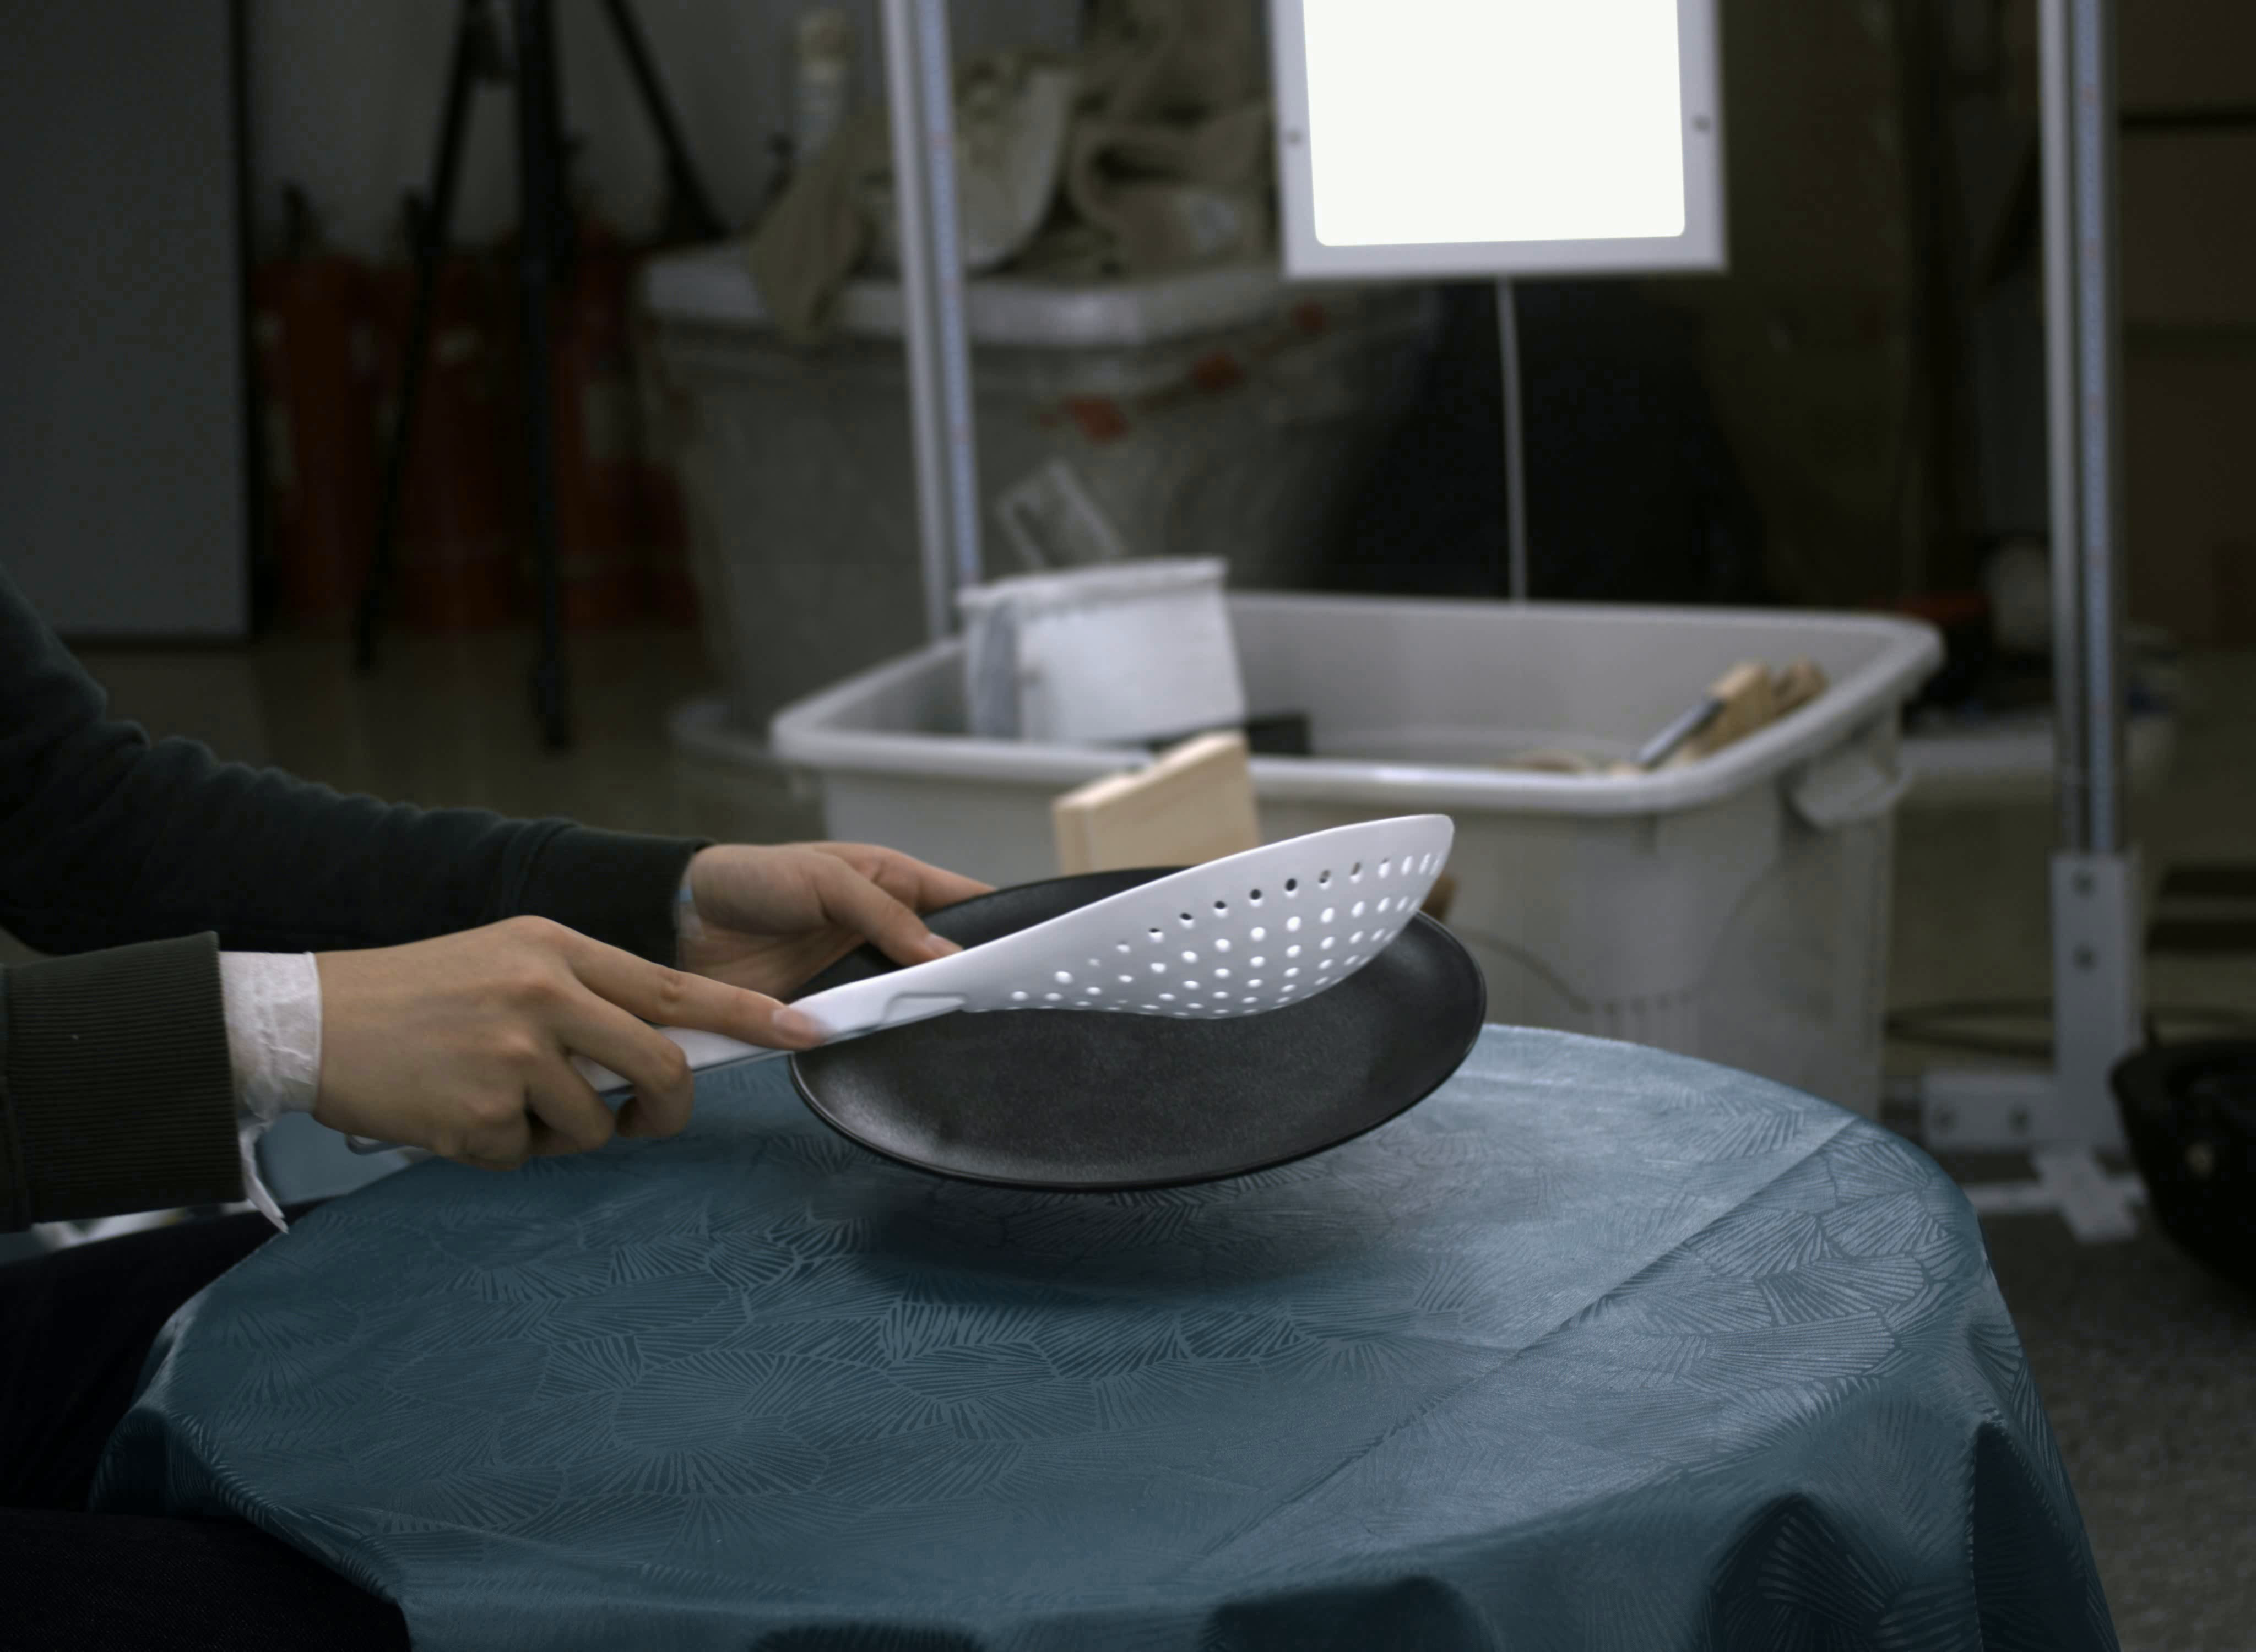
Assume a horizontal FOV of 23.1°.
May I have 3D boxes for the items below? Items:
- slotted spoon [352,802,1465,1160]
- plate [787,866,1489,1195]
[{"bbox_3d":[-0.062,0.049,1.659,0.346,0.046,0.137,-10,-11,-8],"label":"slotted spoon"},{"bbox_3d":[0.004,0.075,1.895,0.244,0.023,0.244,-6,24,1],"label":"plate"}]
